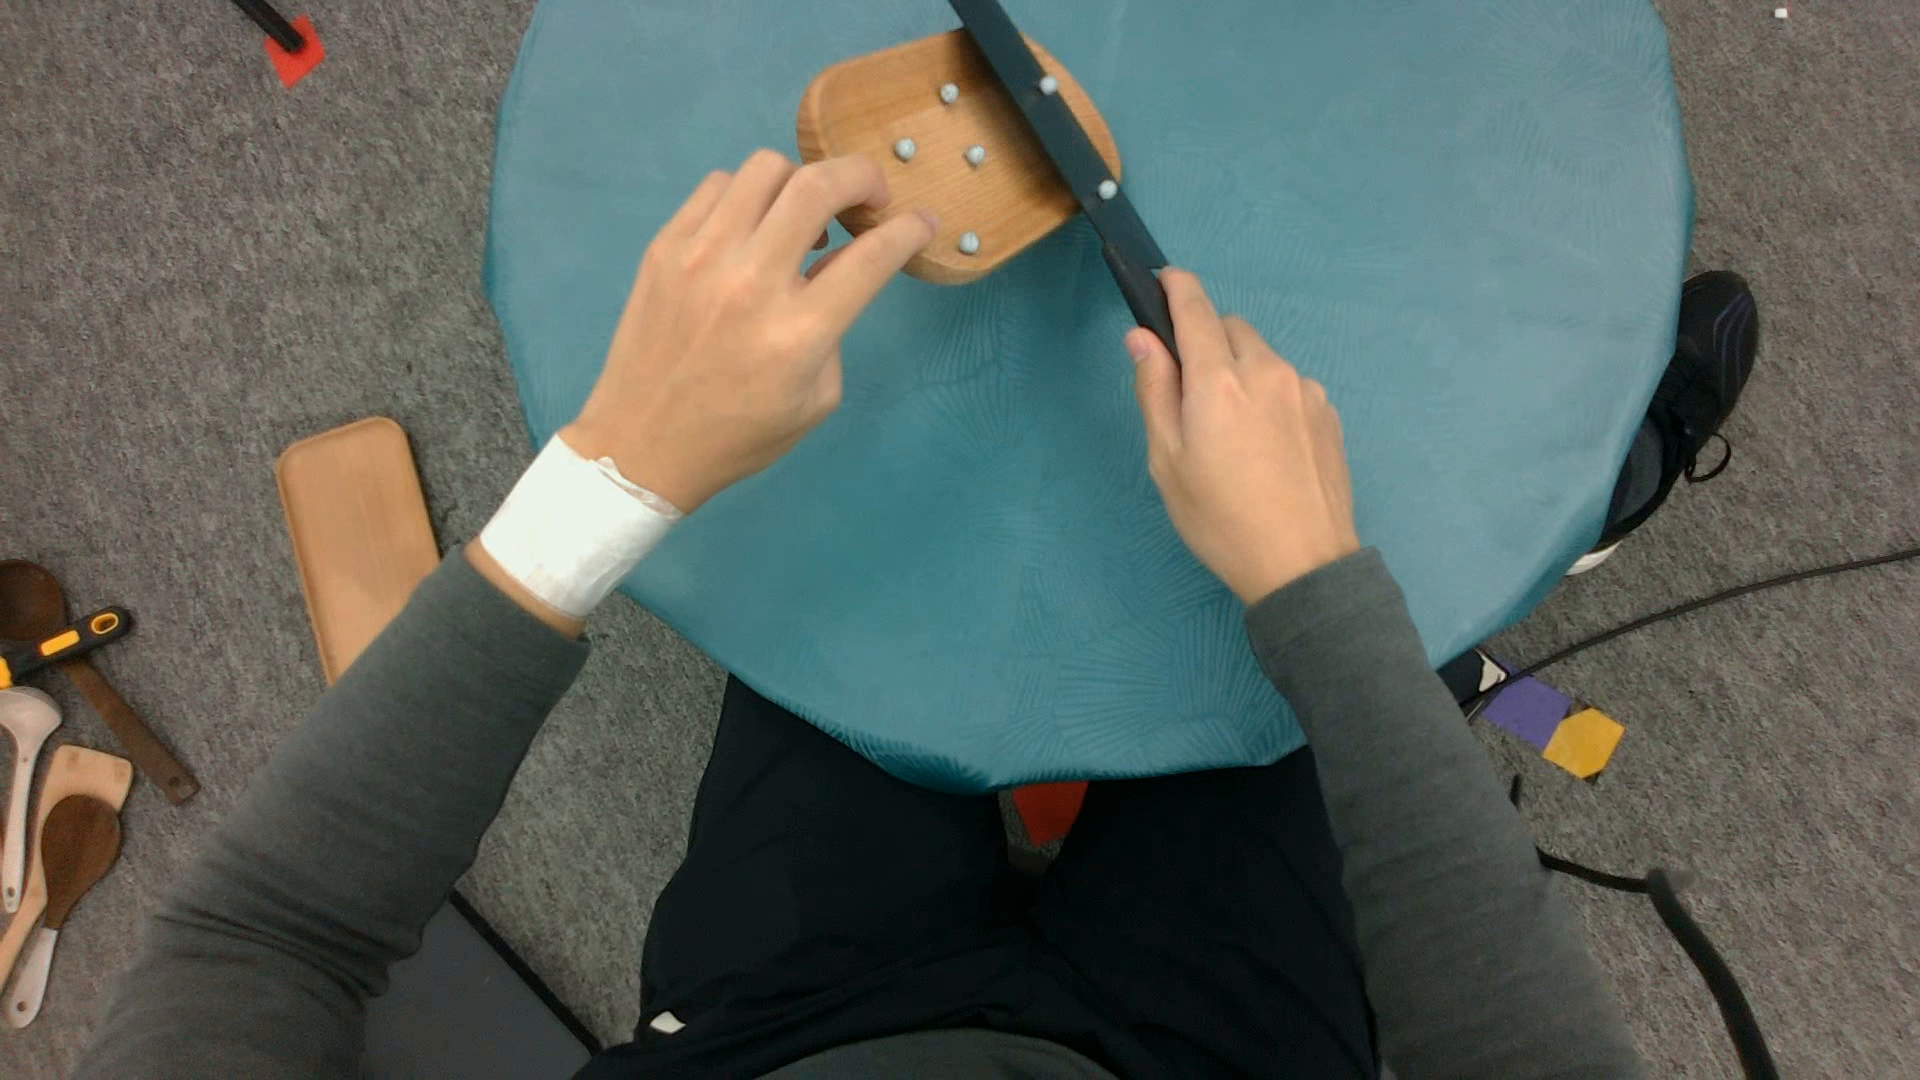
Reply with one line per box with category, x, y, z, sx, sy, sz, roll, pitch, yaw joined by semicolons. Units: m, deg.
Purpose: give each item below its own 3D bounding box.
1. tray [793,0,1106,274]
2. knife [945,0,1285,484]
tray;0.002;-0.182;0.605;0.020;0.232;0.101;-35;100;37
knife;0.064;-0.156;0.631;0.021;0.081;0.302;-36;75;31
